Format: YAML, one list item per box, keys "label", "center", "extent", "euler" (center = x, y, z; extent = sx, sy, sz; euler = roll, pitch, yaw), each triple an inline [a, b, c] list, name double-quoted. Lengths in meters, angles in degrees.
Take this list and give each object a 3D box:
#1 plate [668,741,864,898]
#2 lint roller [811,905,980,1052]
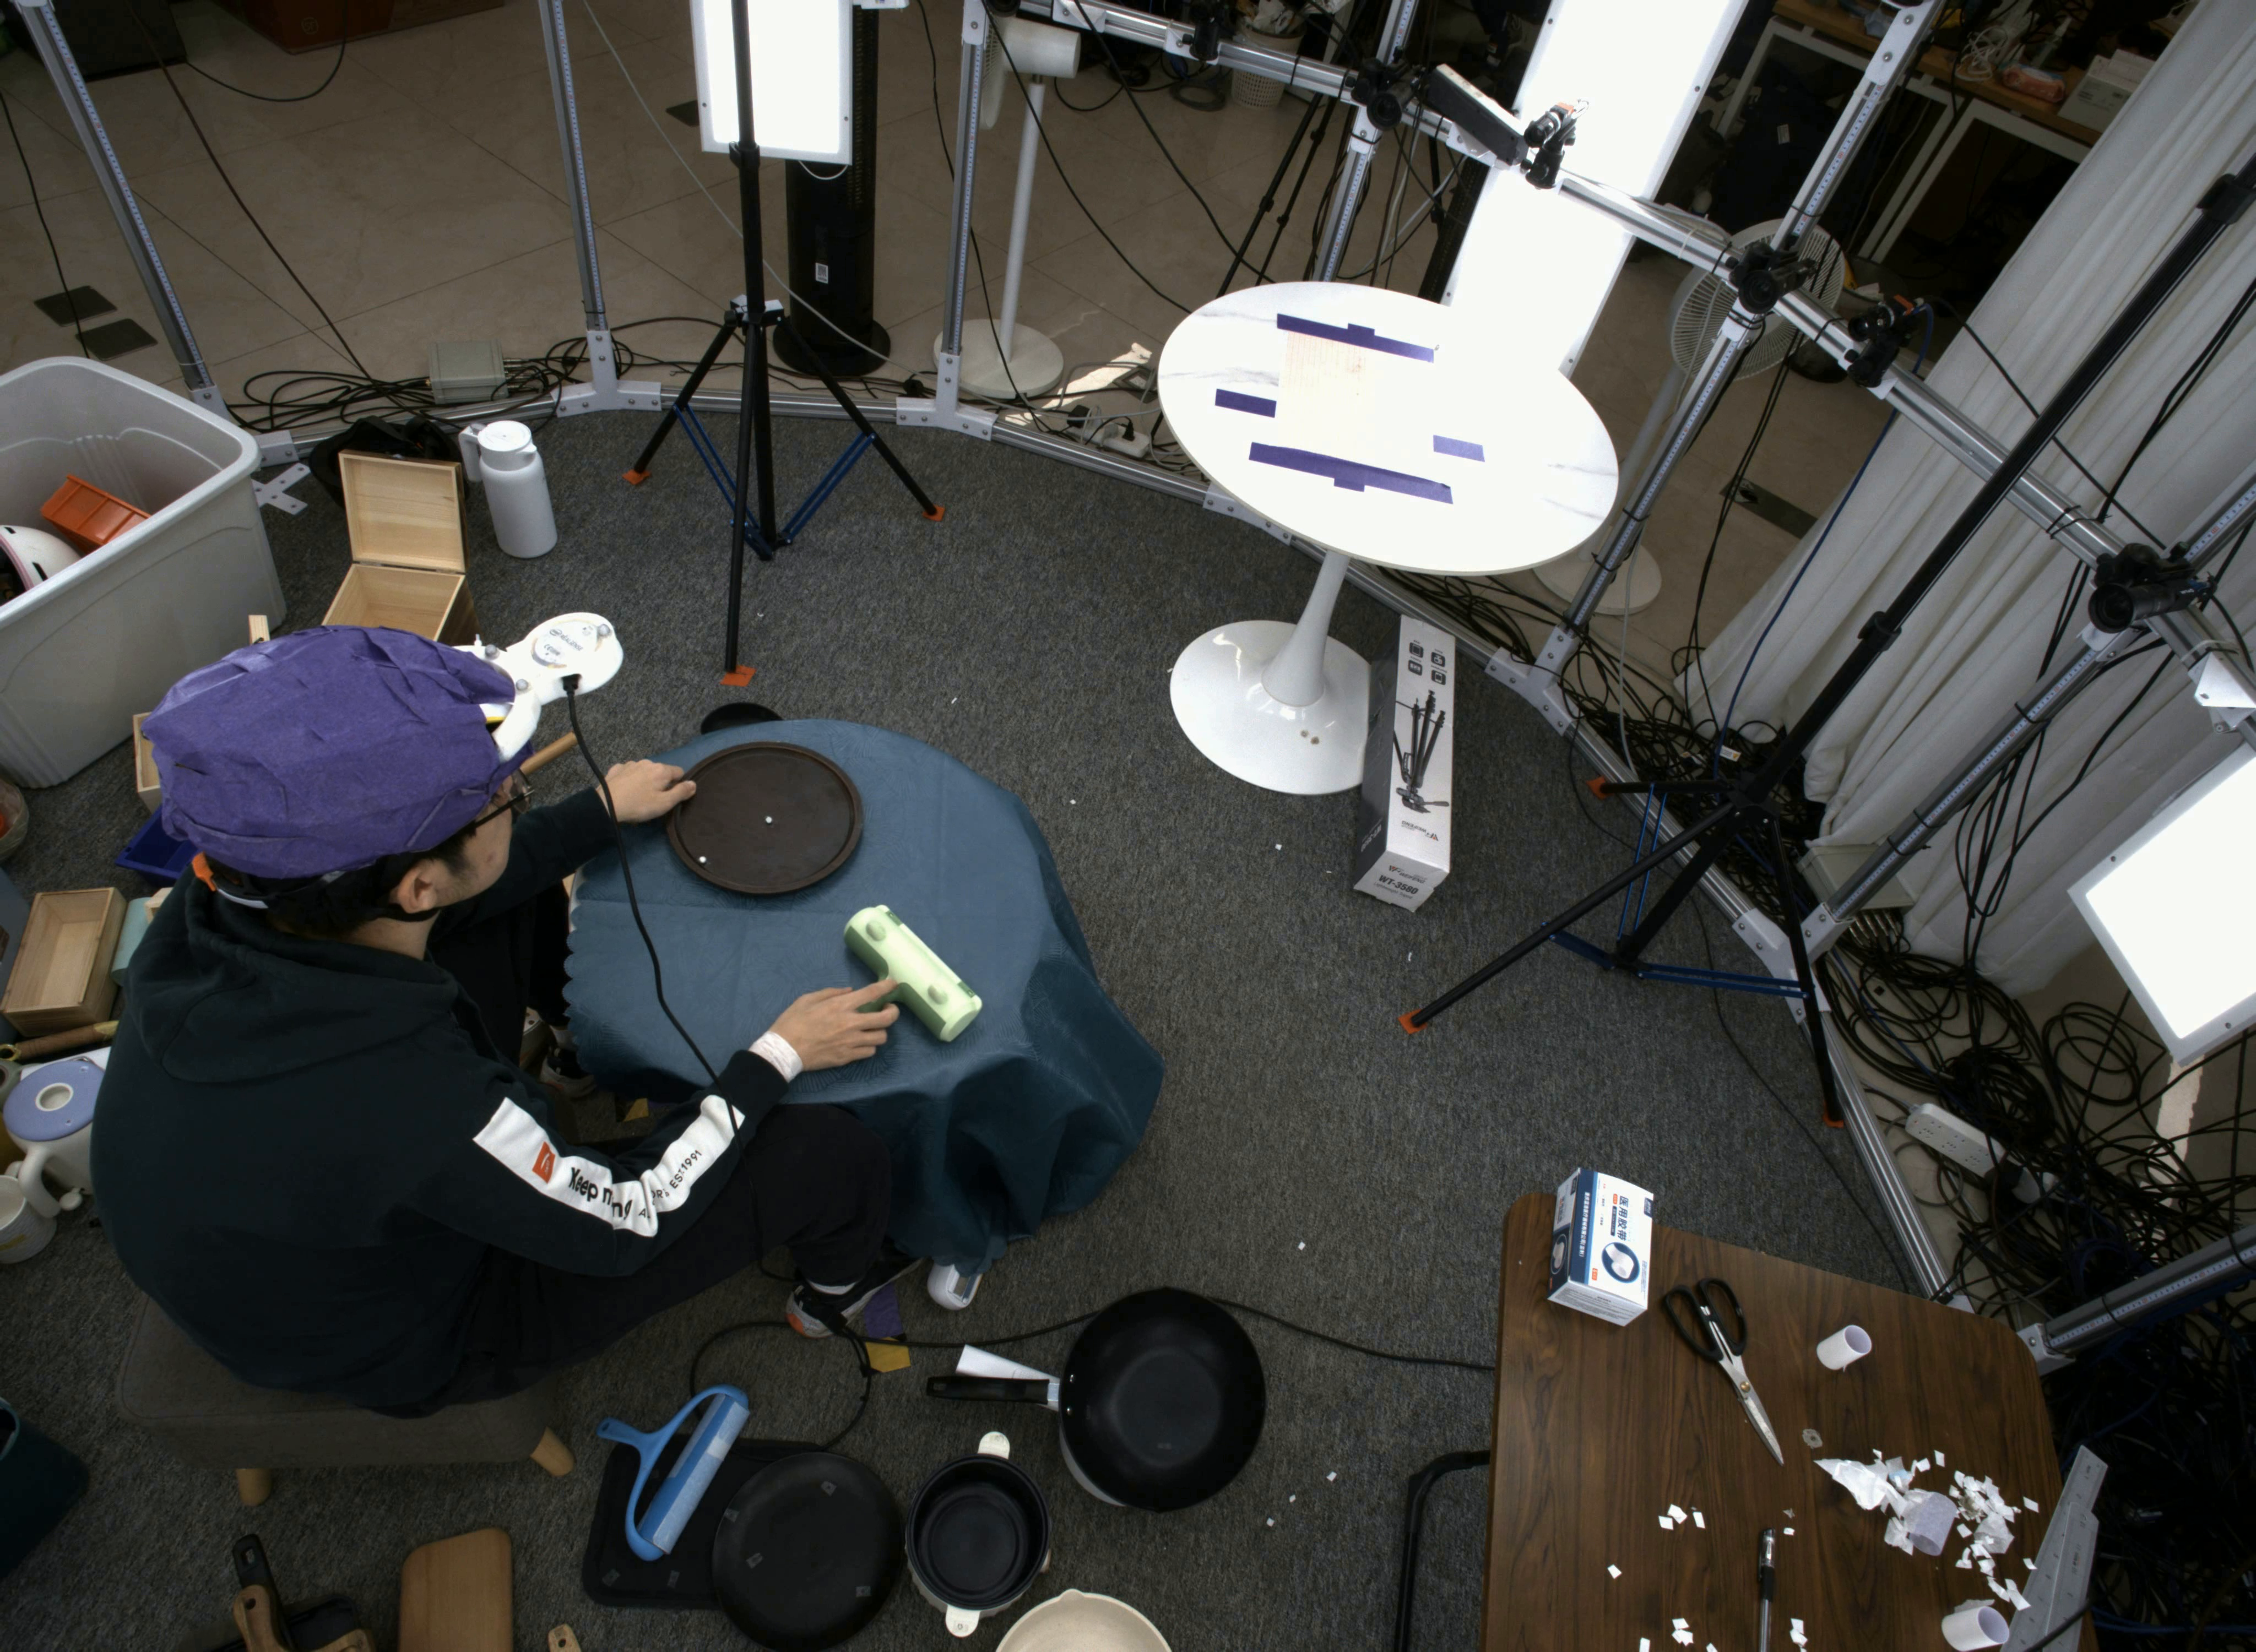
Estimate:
- label: "plate"
  center: [-0.477, -0.012, 1.708]
  extent: [0.255, 0.029, 0.250]
  euler: [9, 53, -10]
- label: "lint roller"
  center: [-0.305, 0.198, 1.563]
  extent: [0.194, 0.084, 0.184]
  euler: [42, 51, 17]
